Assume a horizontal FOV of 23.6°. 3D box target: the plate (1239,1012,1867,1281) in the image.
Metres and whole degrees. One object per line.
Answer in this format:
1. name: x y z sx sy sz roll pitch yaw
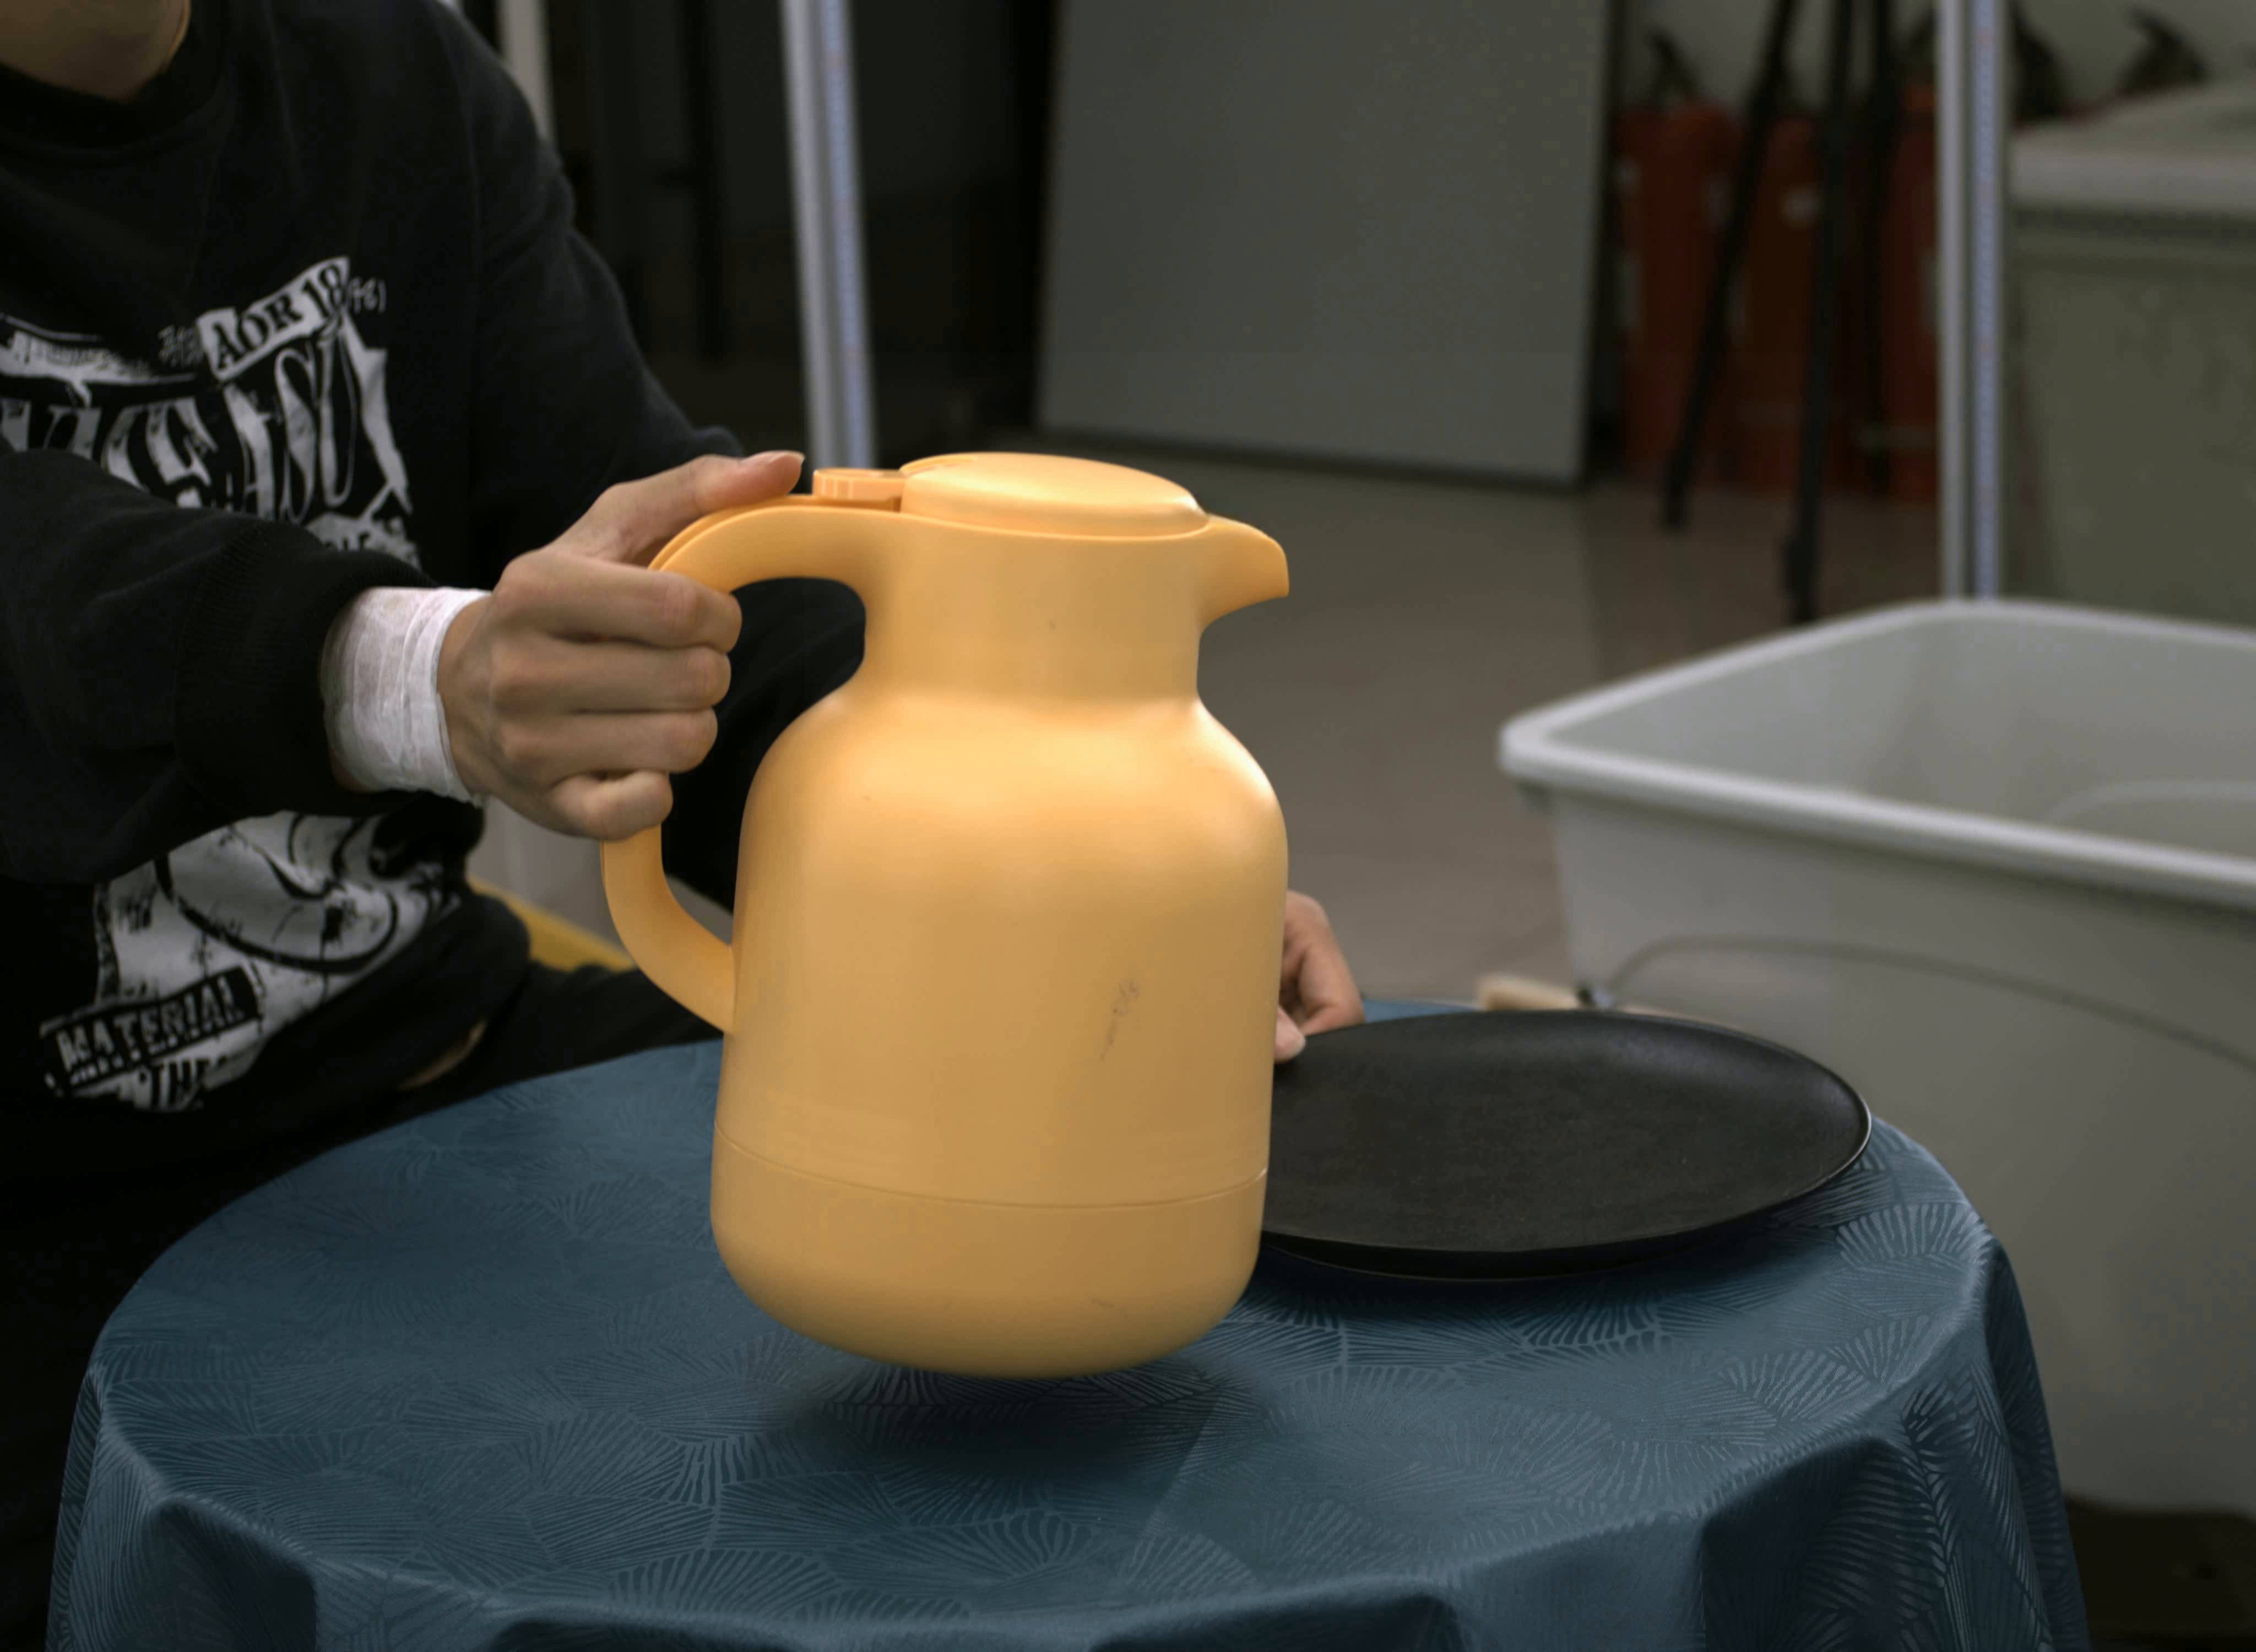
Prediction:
1. plate: 0.118 0.106 1.743 0.241 0.024 0.245 -4 15 0

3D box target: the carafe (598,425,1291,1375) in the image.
1. carafe: -0.055 0.016 1.559 0.199 0.264 0.164 5 8 -5
